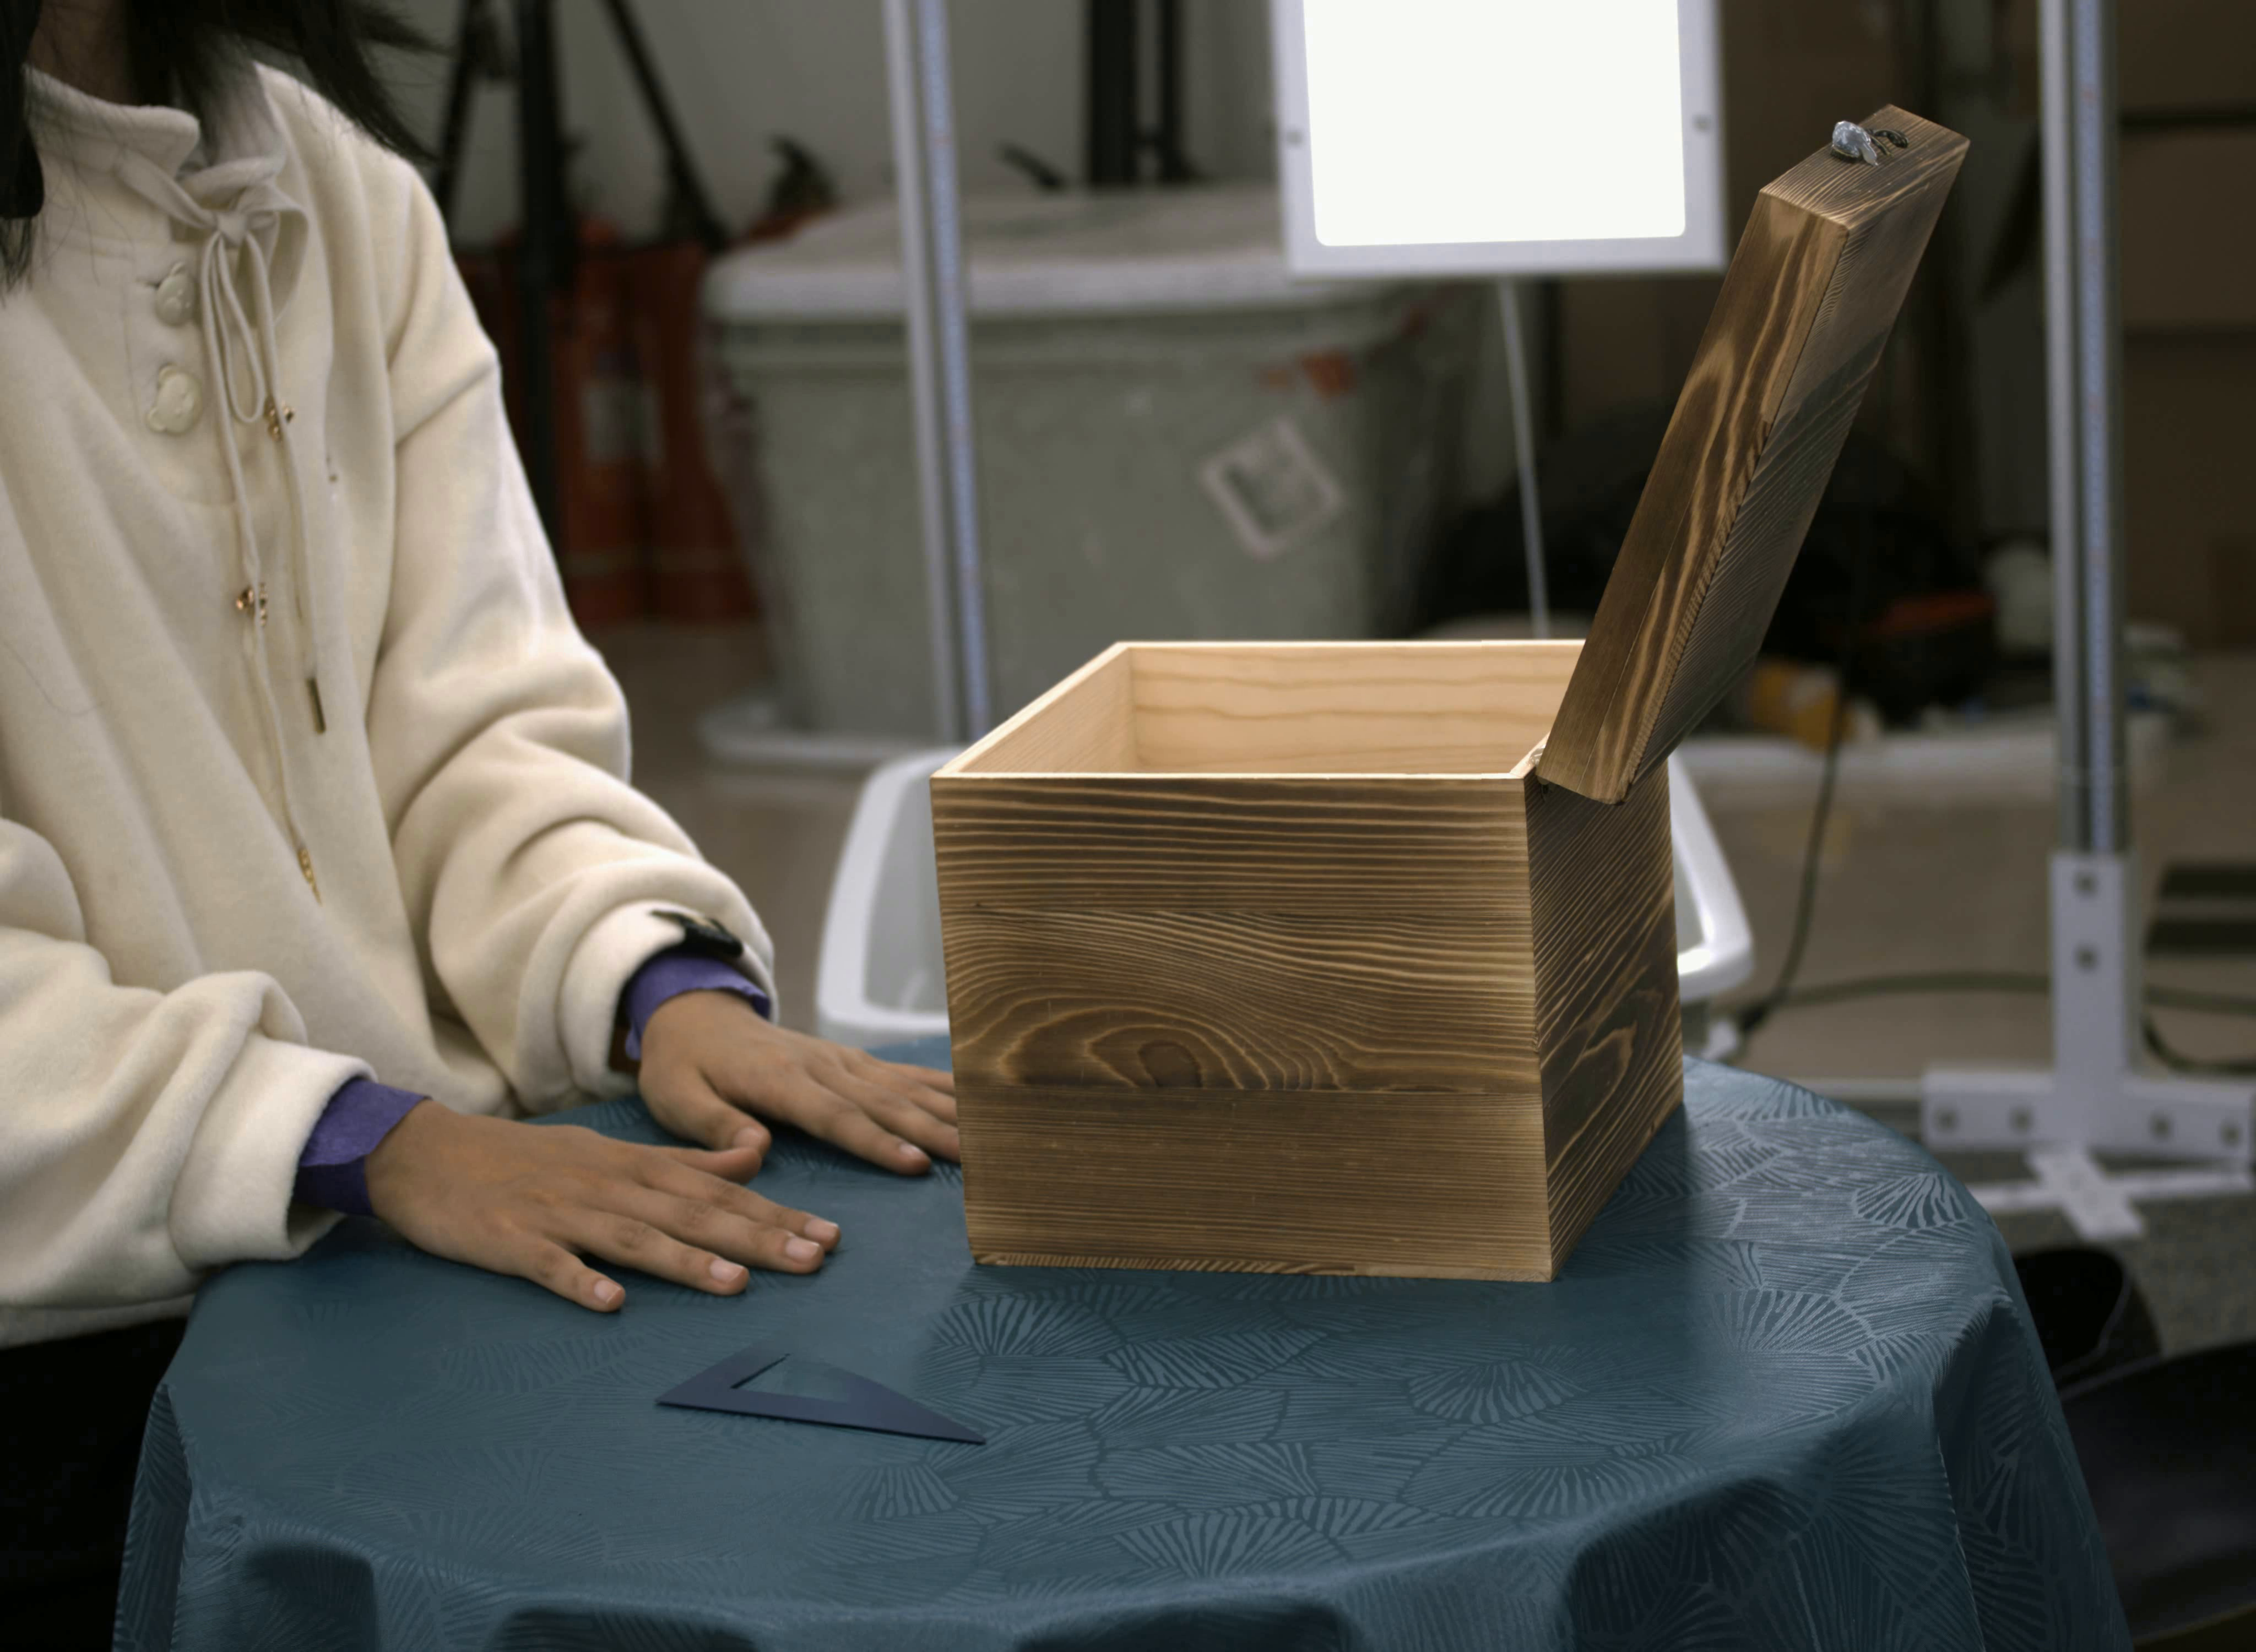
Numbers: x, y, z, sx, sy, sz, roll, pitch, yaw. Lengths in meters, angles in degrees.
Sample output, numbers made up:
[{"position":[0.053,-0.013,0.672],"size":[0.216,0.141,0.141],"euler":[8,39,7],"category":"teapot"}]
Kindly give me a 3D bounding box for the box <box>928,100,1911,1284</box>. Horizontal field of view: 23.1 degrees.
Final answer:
[{"position":[0.110,-0.051,1.831],"size":[0.326,0.377,0.205],"euler":[1,14,20],"category":"box"}]

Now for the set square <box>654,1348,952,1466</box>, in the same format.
[{"position":[-0.105,0.182,1.702],"size":[0.060,0.006,0.134],"euler":[-9,14,-25],"category":"set square"}]
